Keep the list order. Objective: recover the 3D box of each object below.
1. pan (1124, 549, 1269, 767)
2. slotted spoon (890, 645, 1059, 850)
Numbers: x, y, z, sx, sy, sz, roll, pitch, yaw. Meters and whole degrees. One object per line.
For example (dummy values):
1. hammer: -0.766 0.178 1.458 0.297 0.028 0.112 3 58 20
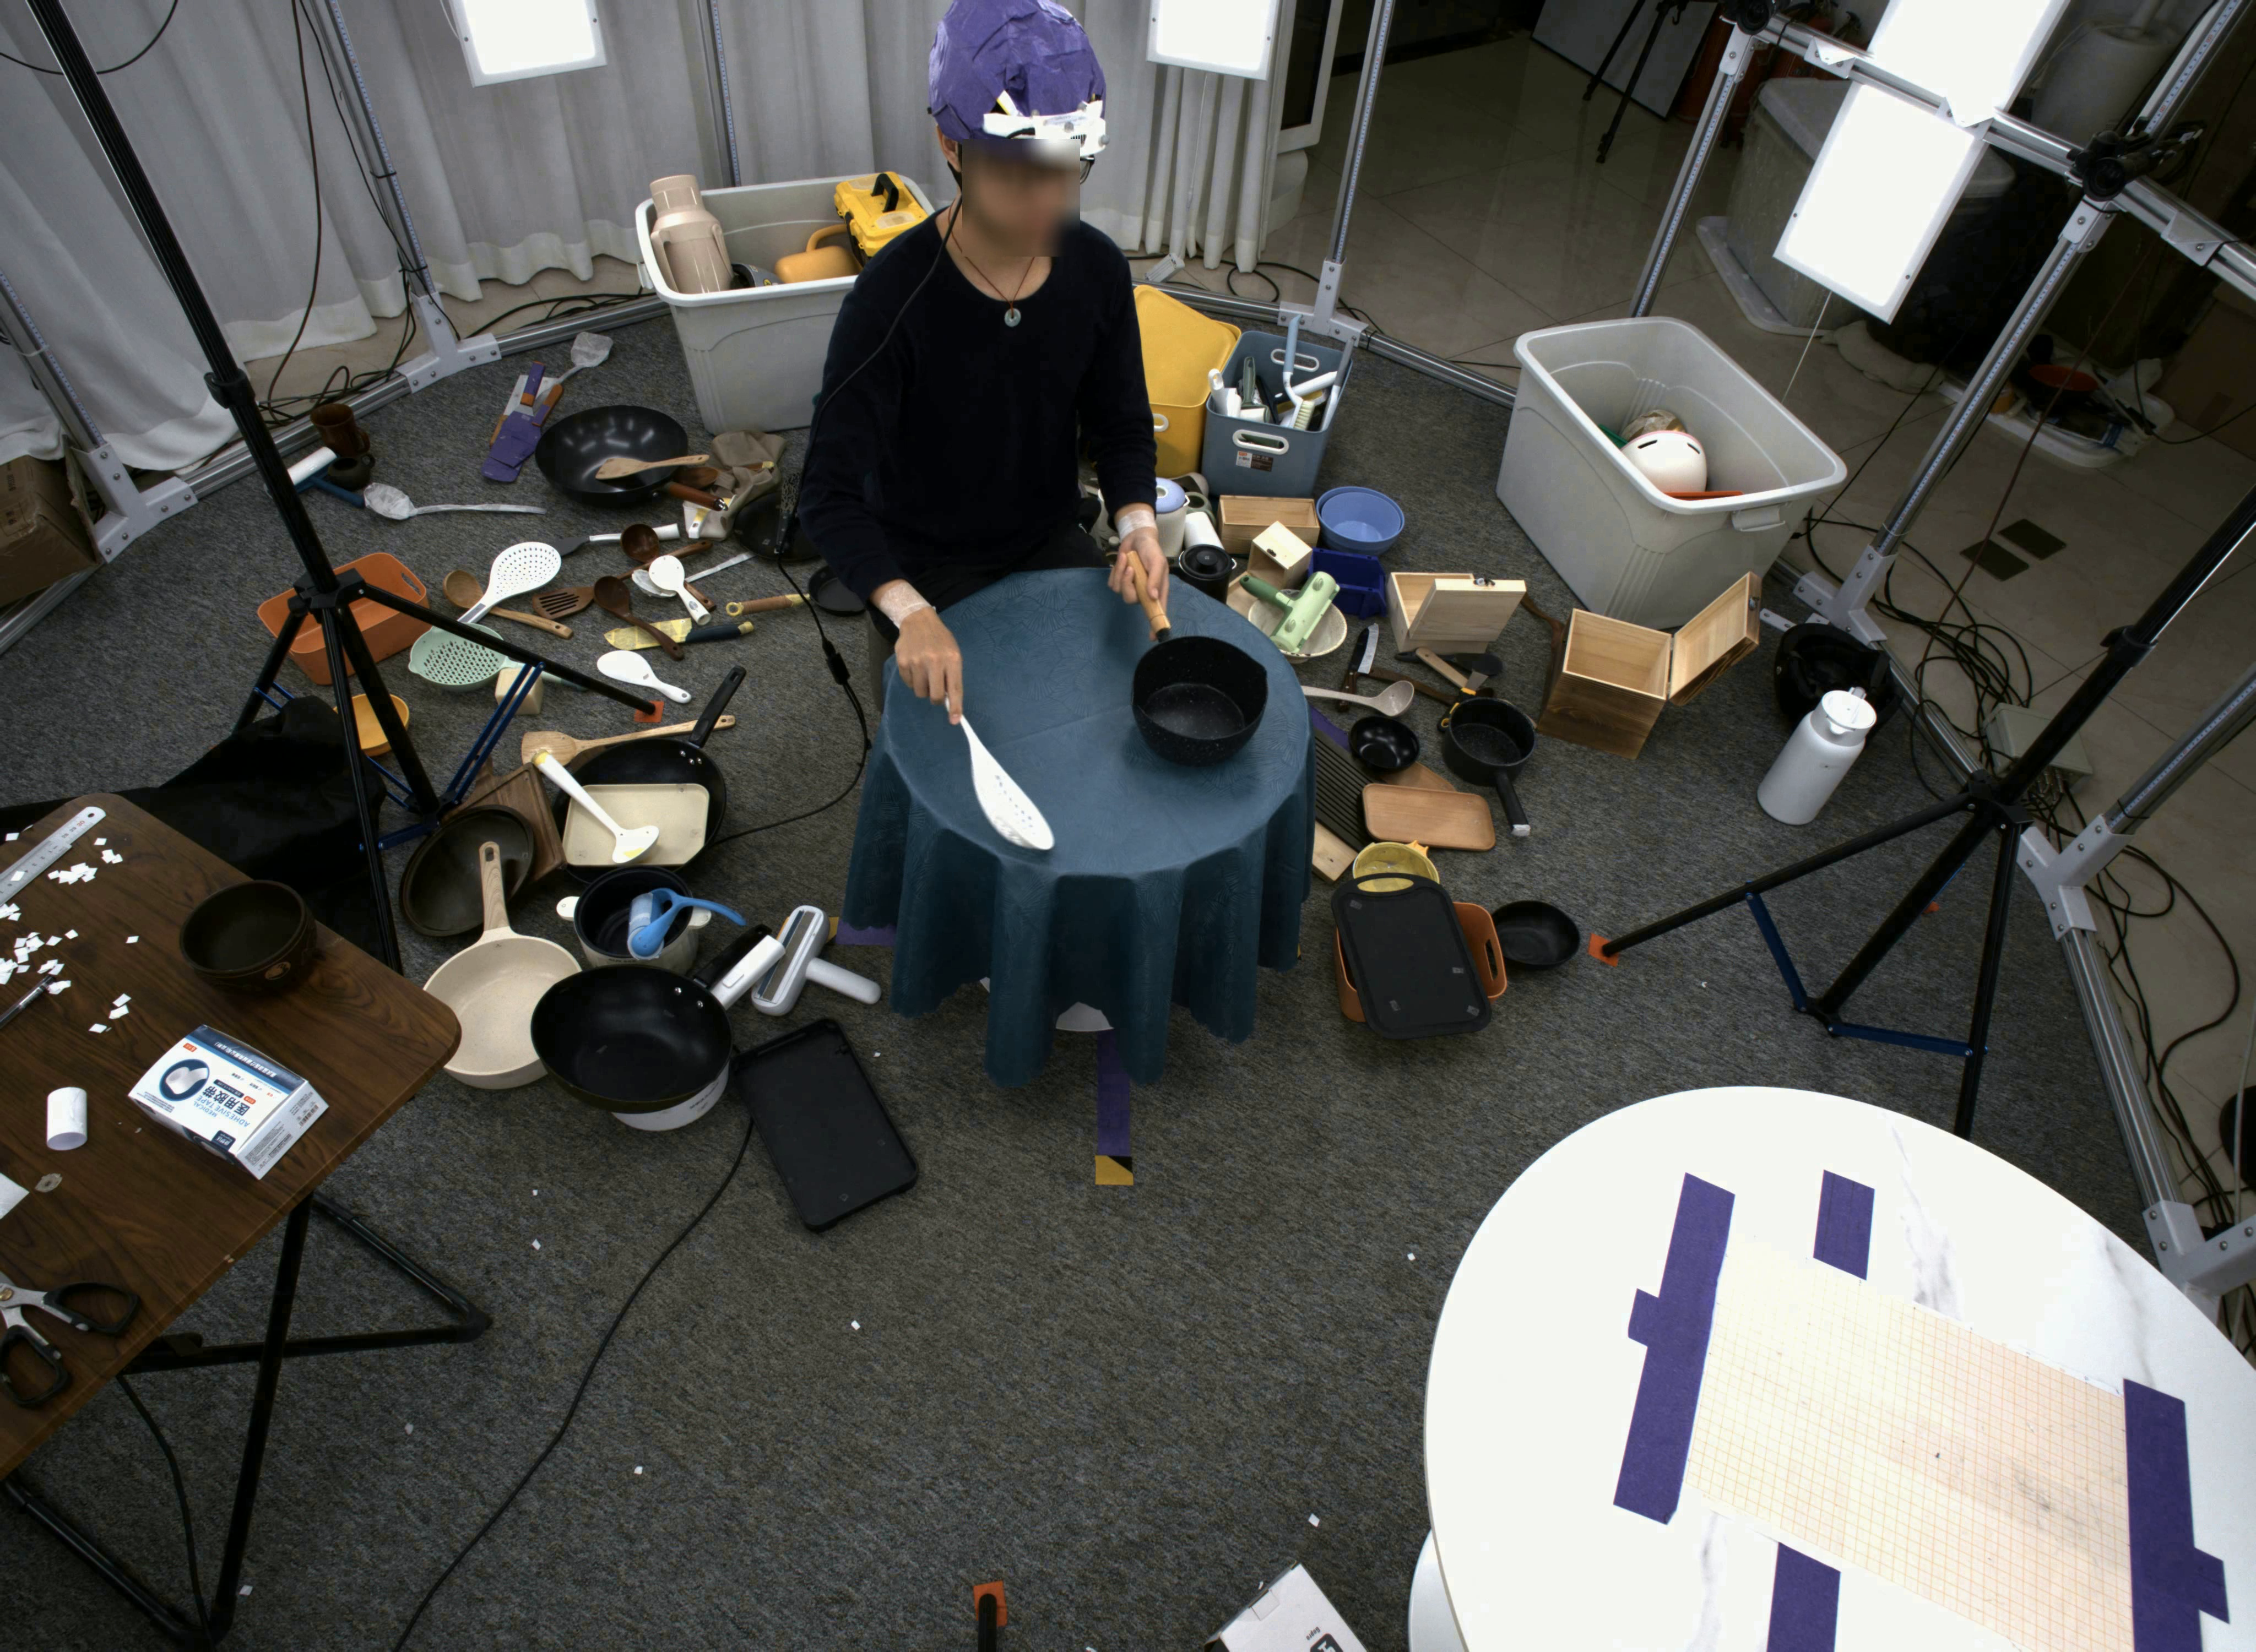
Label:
1. pan: 0.063 -0.233 1.790 0.208 0.106 0.350 -18 59 -16
2. slotted spoon: -0.202 -0.104 1.635 0.050 0.135 0.353 -36 72 15
